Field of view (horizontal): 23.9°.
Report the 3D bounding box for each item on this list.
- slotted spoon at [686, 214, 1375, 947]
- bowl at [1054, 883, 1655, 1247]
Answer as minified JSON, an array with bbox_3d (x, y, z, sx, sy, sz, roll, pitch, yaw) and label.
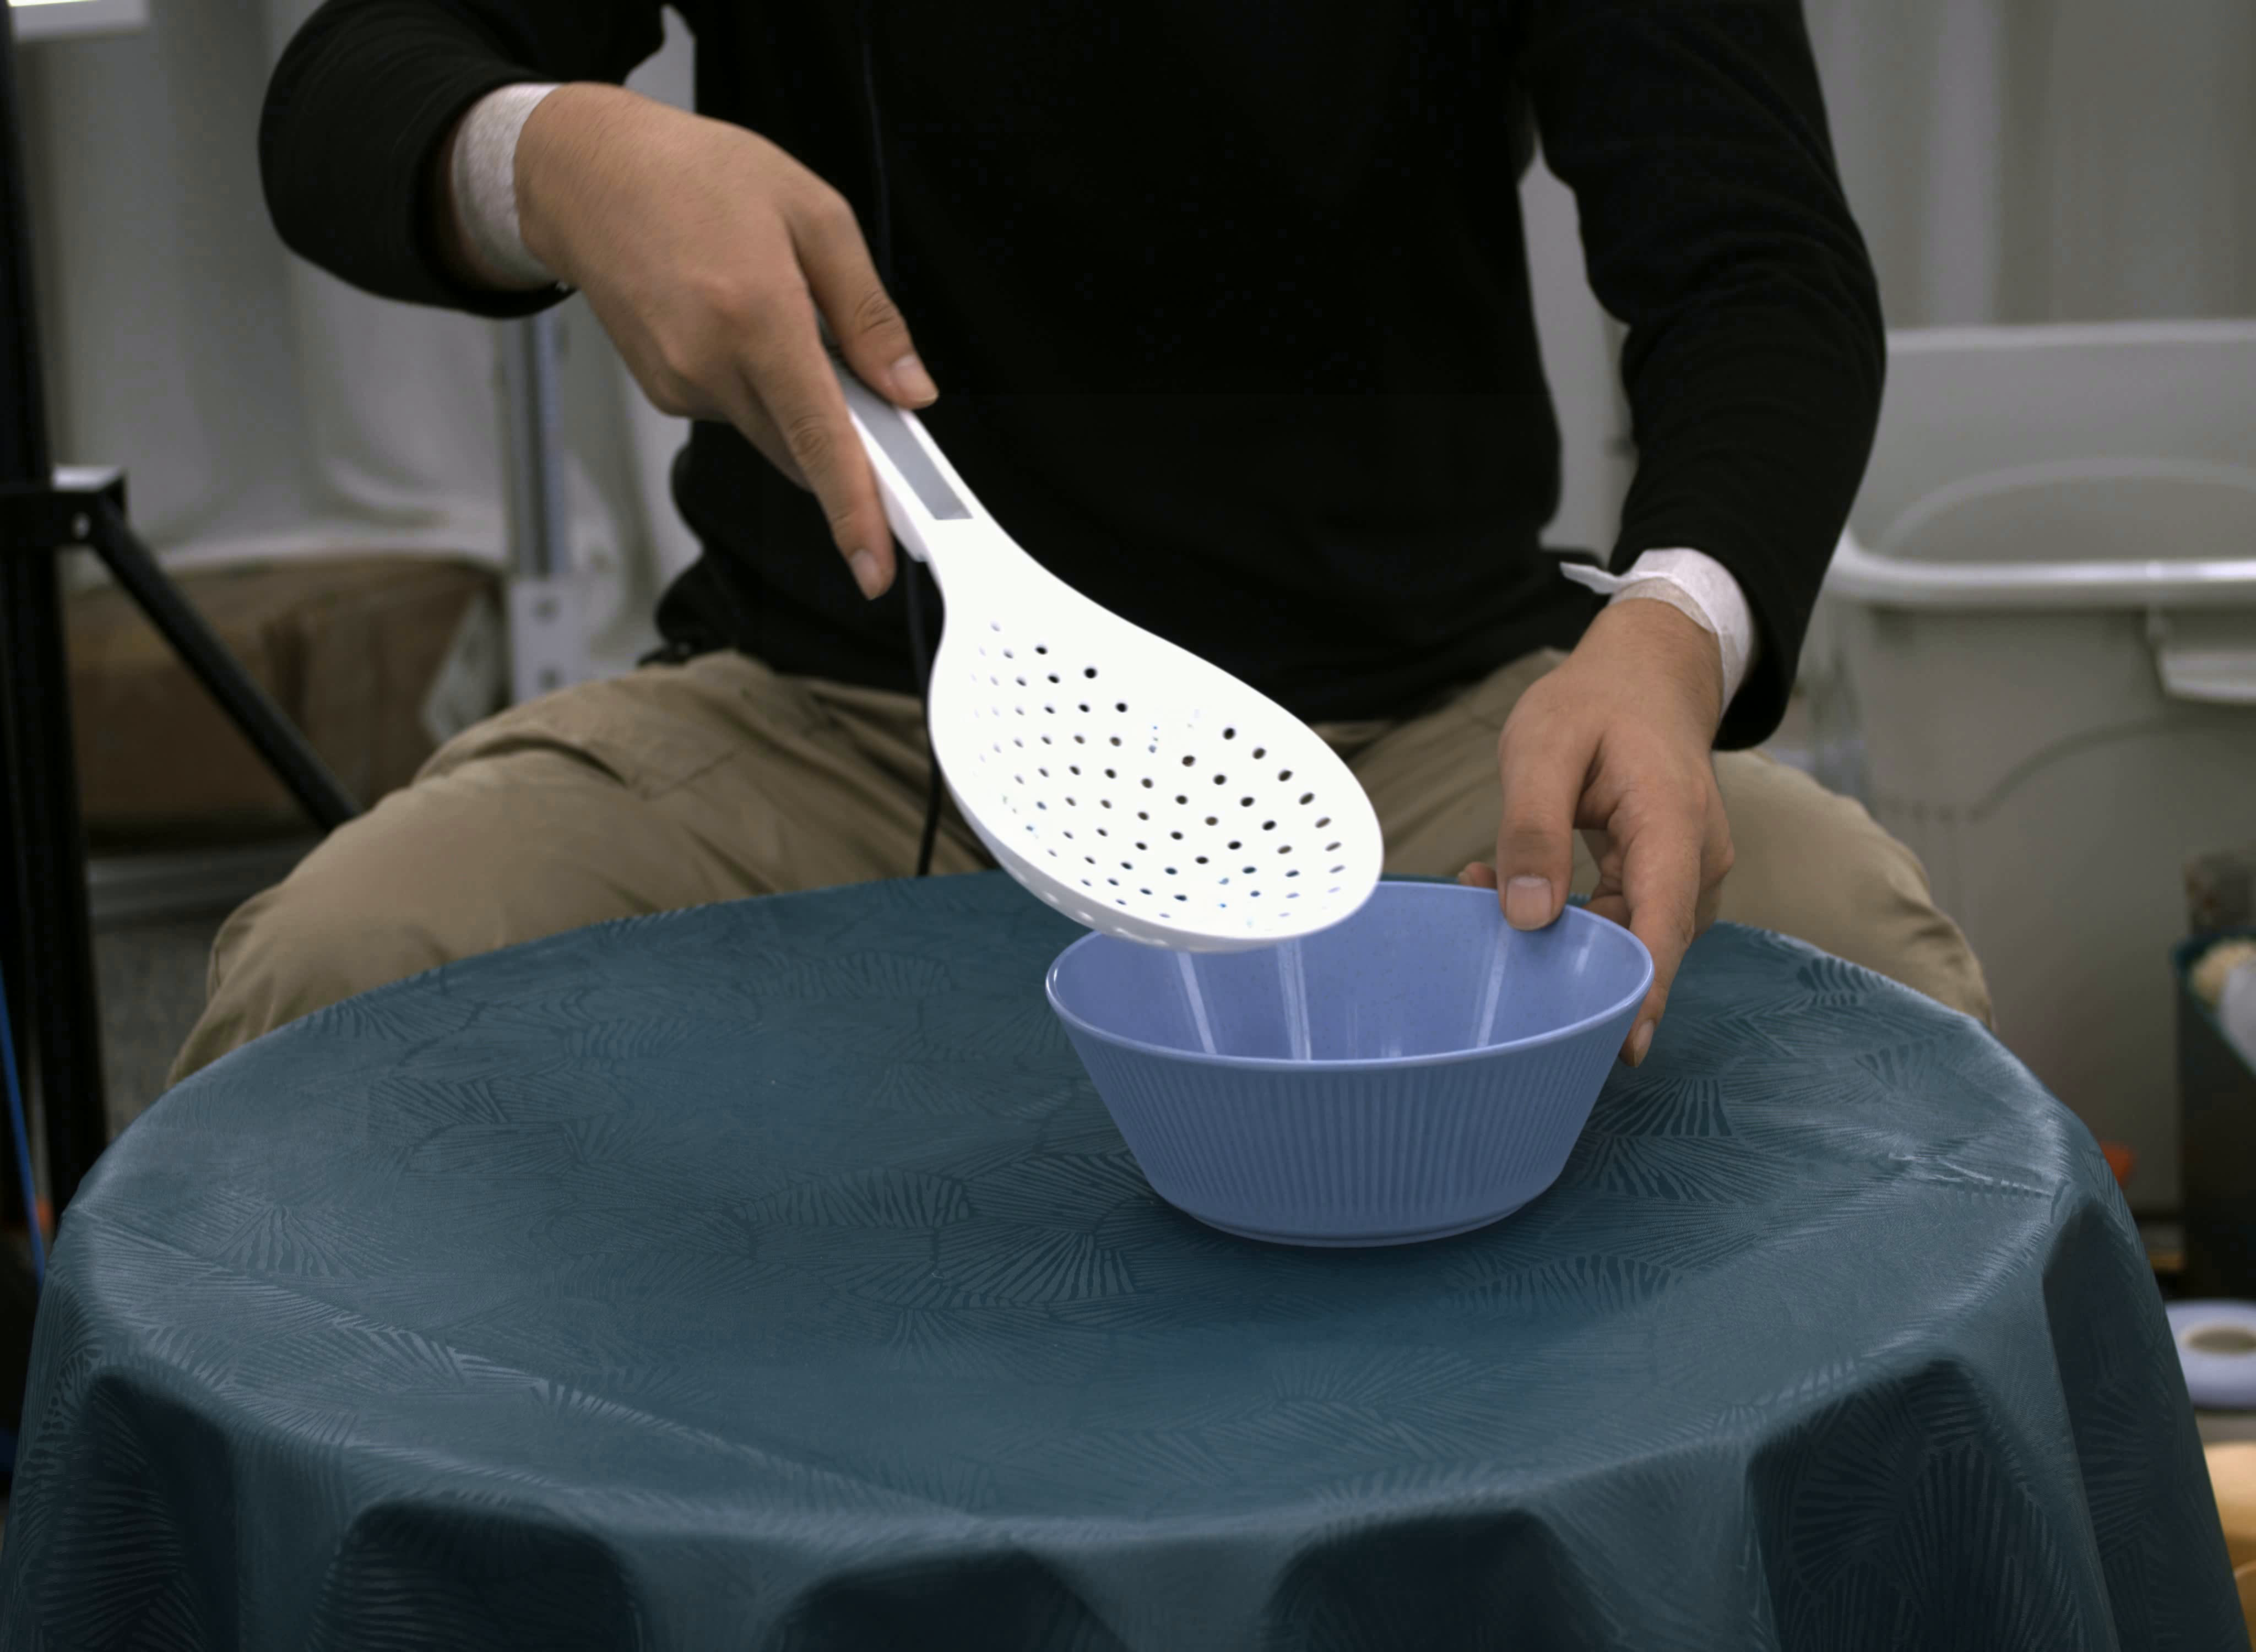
[{"bbox_3d":[-0.047,-0.077,1.579,0.133,0.046,0.357,-5,46,-33],"label":"slotted spoon"},{"bbox_3d":[0.066,0.072,1.545,0.175,0.070,0.177,-2,15,-1],"label":"bowl"}]
